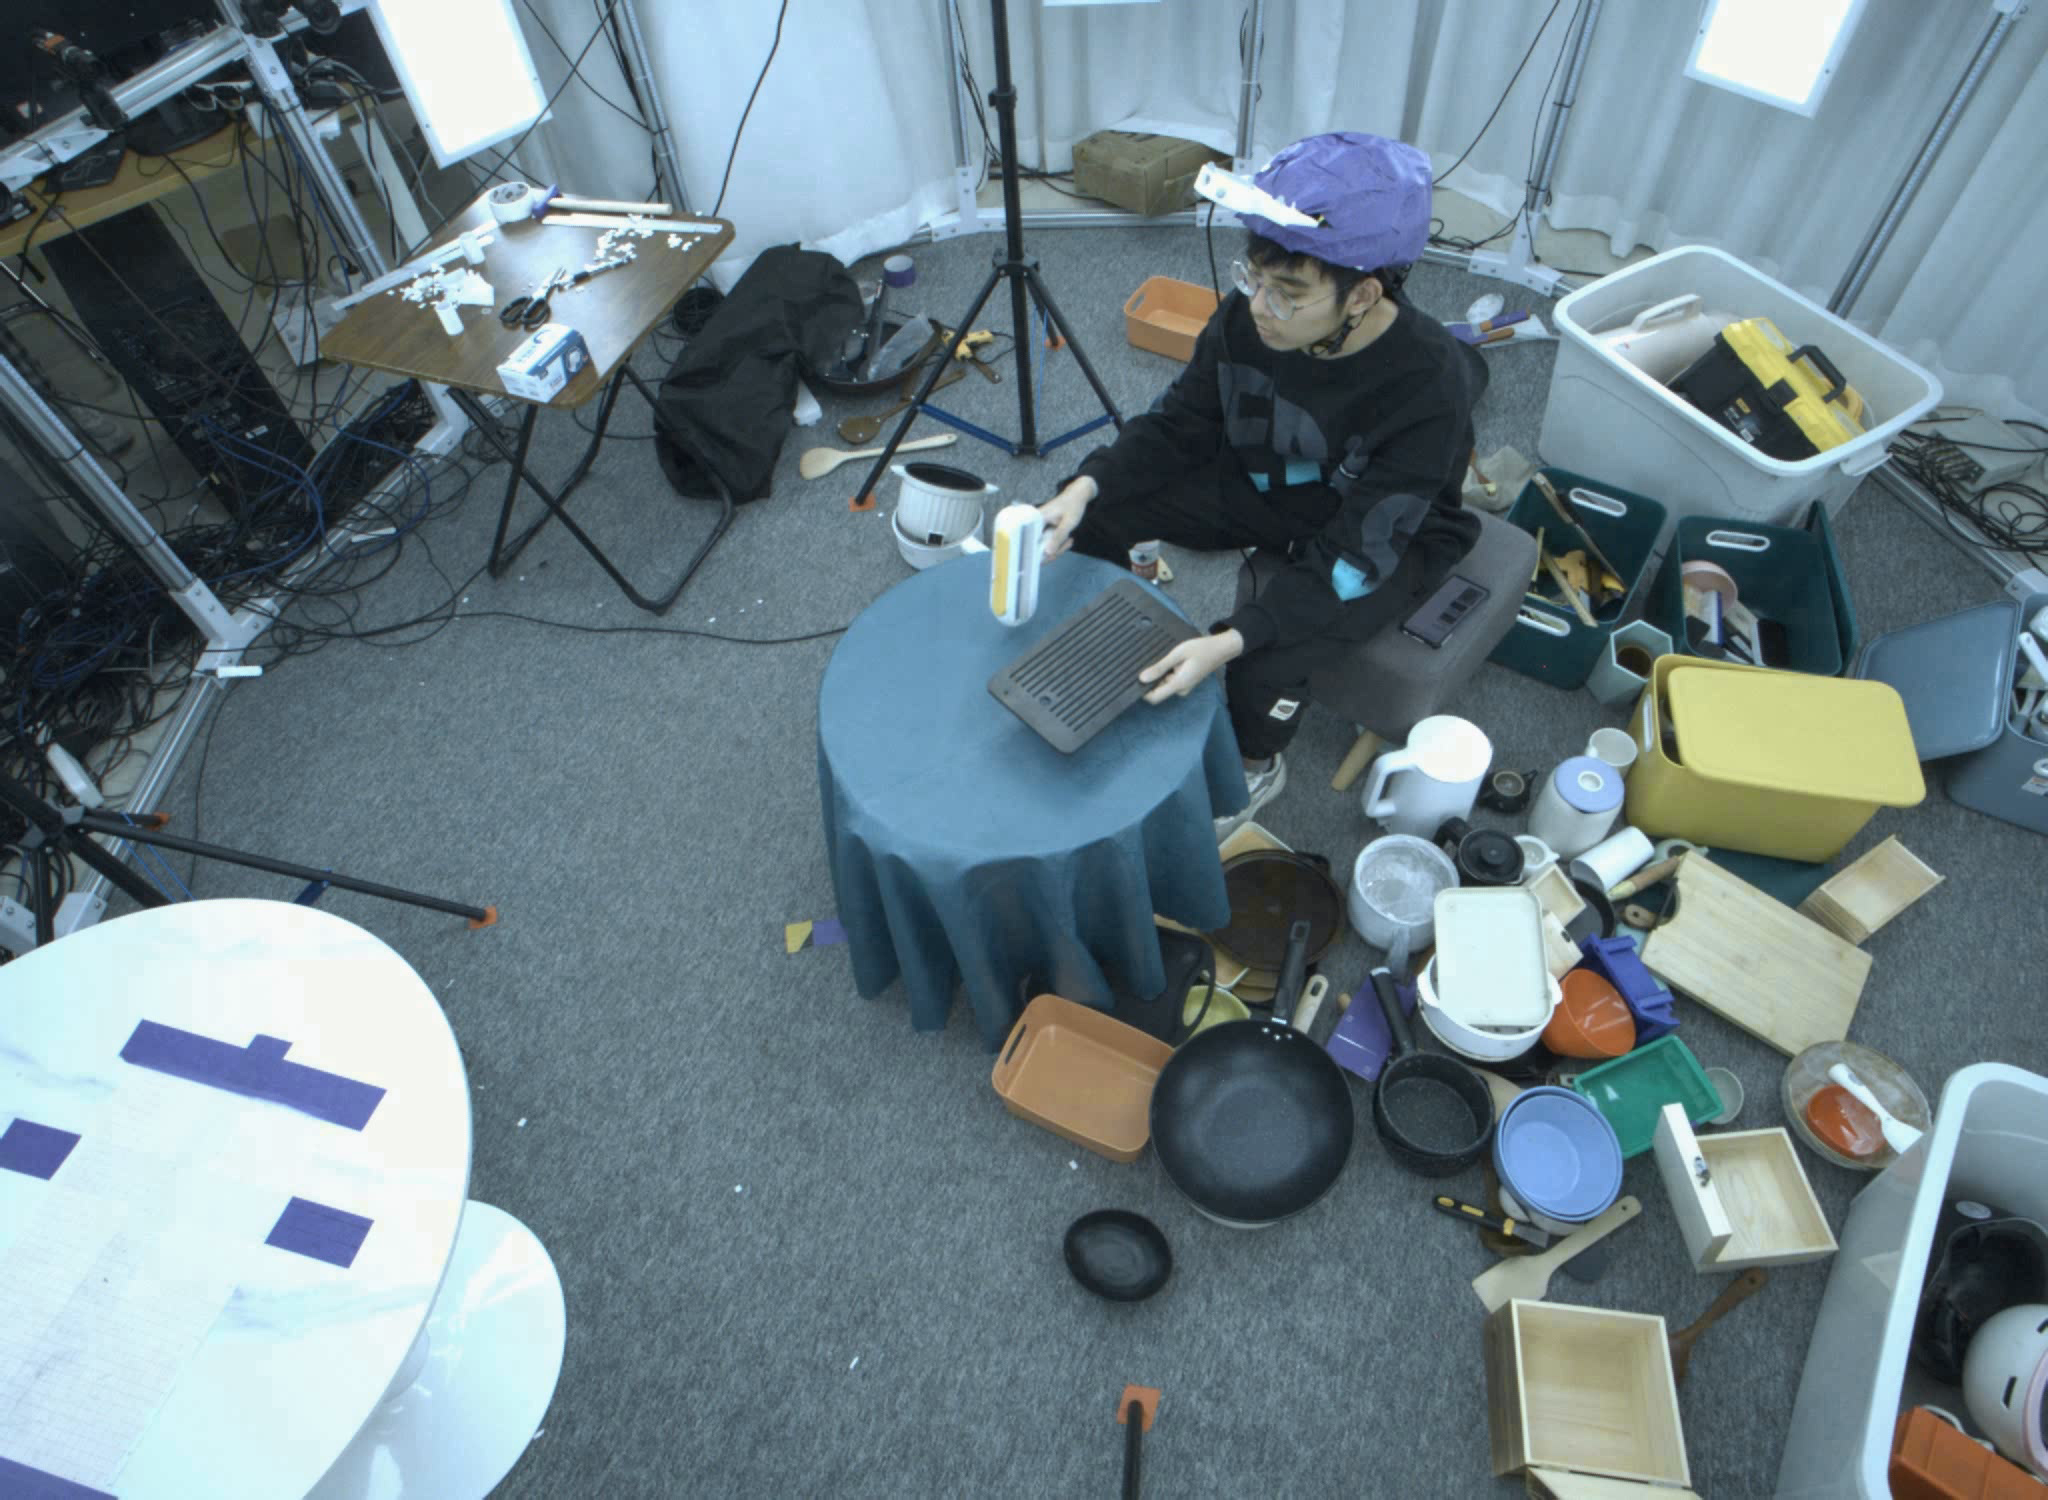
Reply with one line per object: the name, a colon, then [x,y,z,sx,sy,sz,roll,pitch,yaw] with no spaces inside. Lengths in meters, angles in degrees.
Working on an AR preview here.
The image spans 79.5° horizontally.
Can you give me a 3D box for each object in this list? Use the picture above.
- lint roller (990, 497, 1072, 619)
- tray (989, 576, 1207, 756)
lint roller: [0.024,-0.308,1.860,0.073,0.194,0.195,28,39,29]
tray: [0.109,-0.126,1.782,0.168,0.019,0.308,43,62,17]
